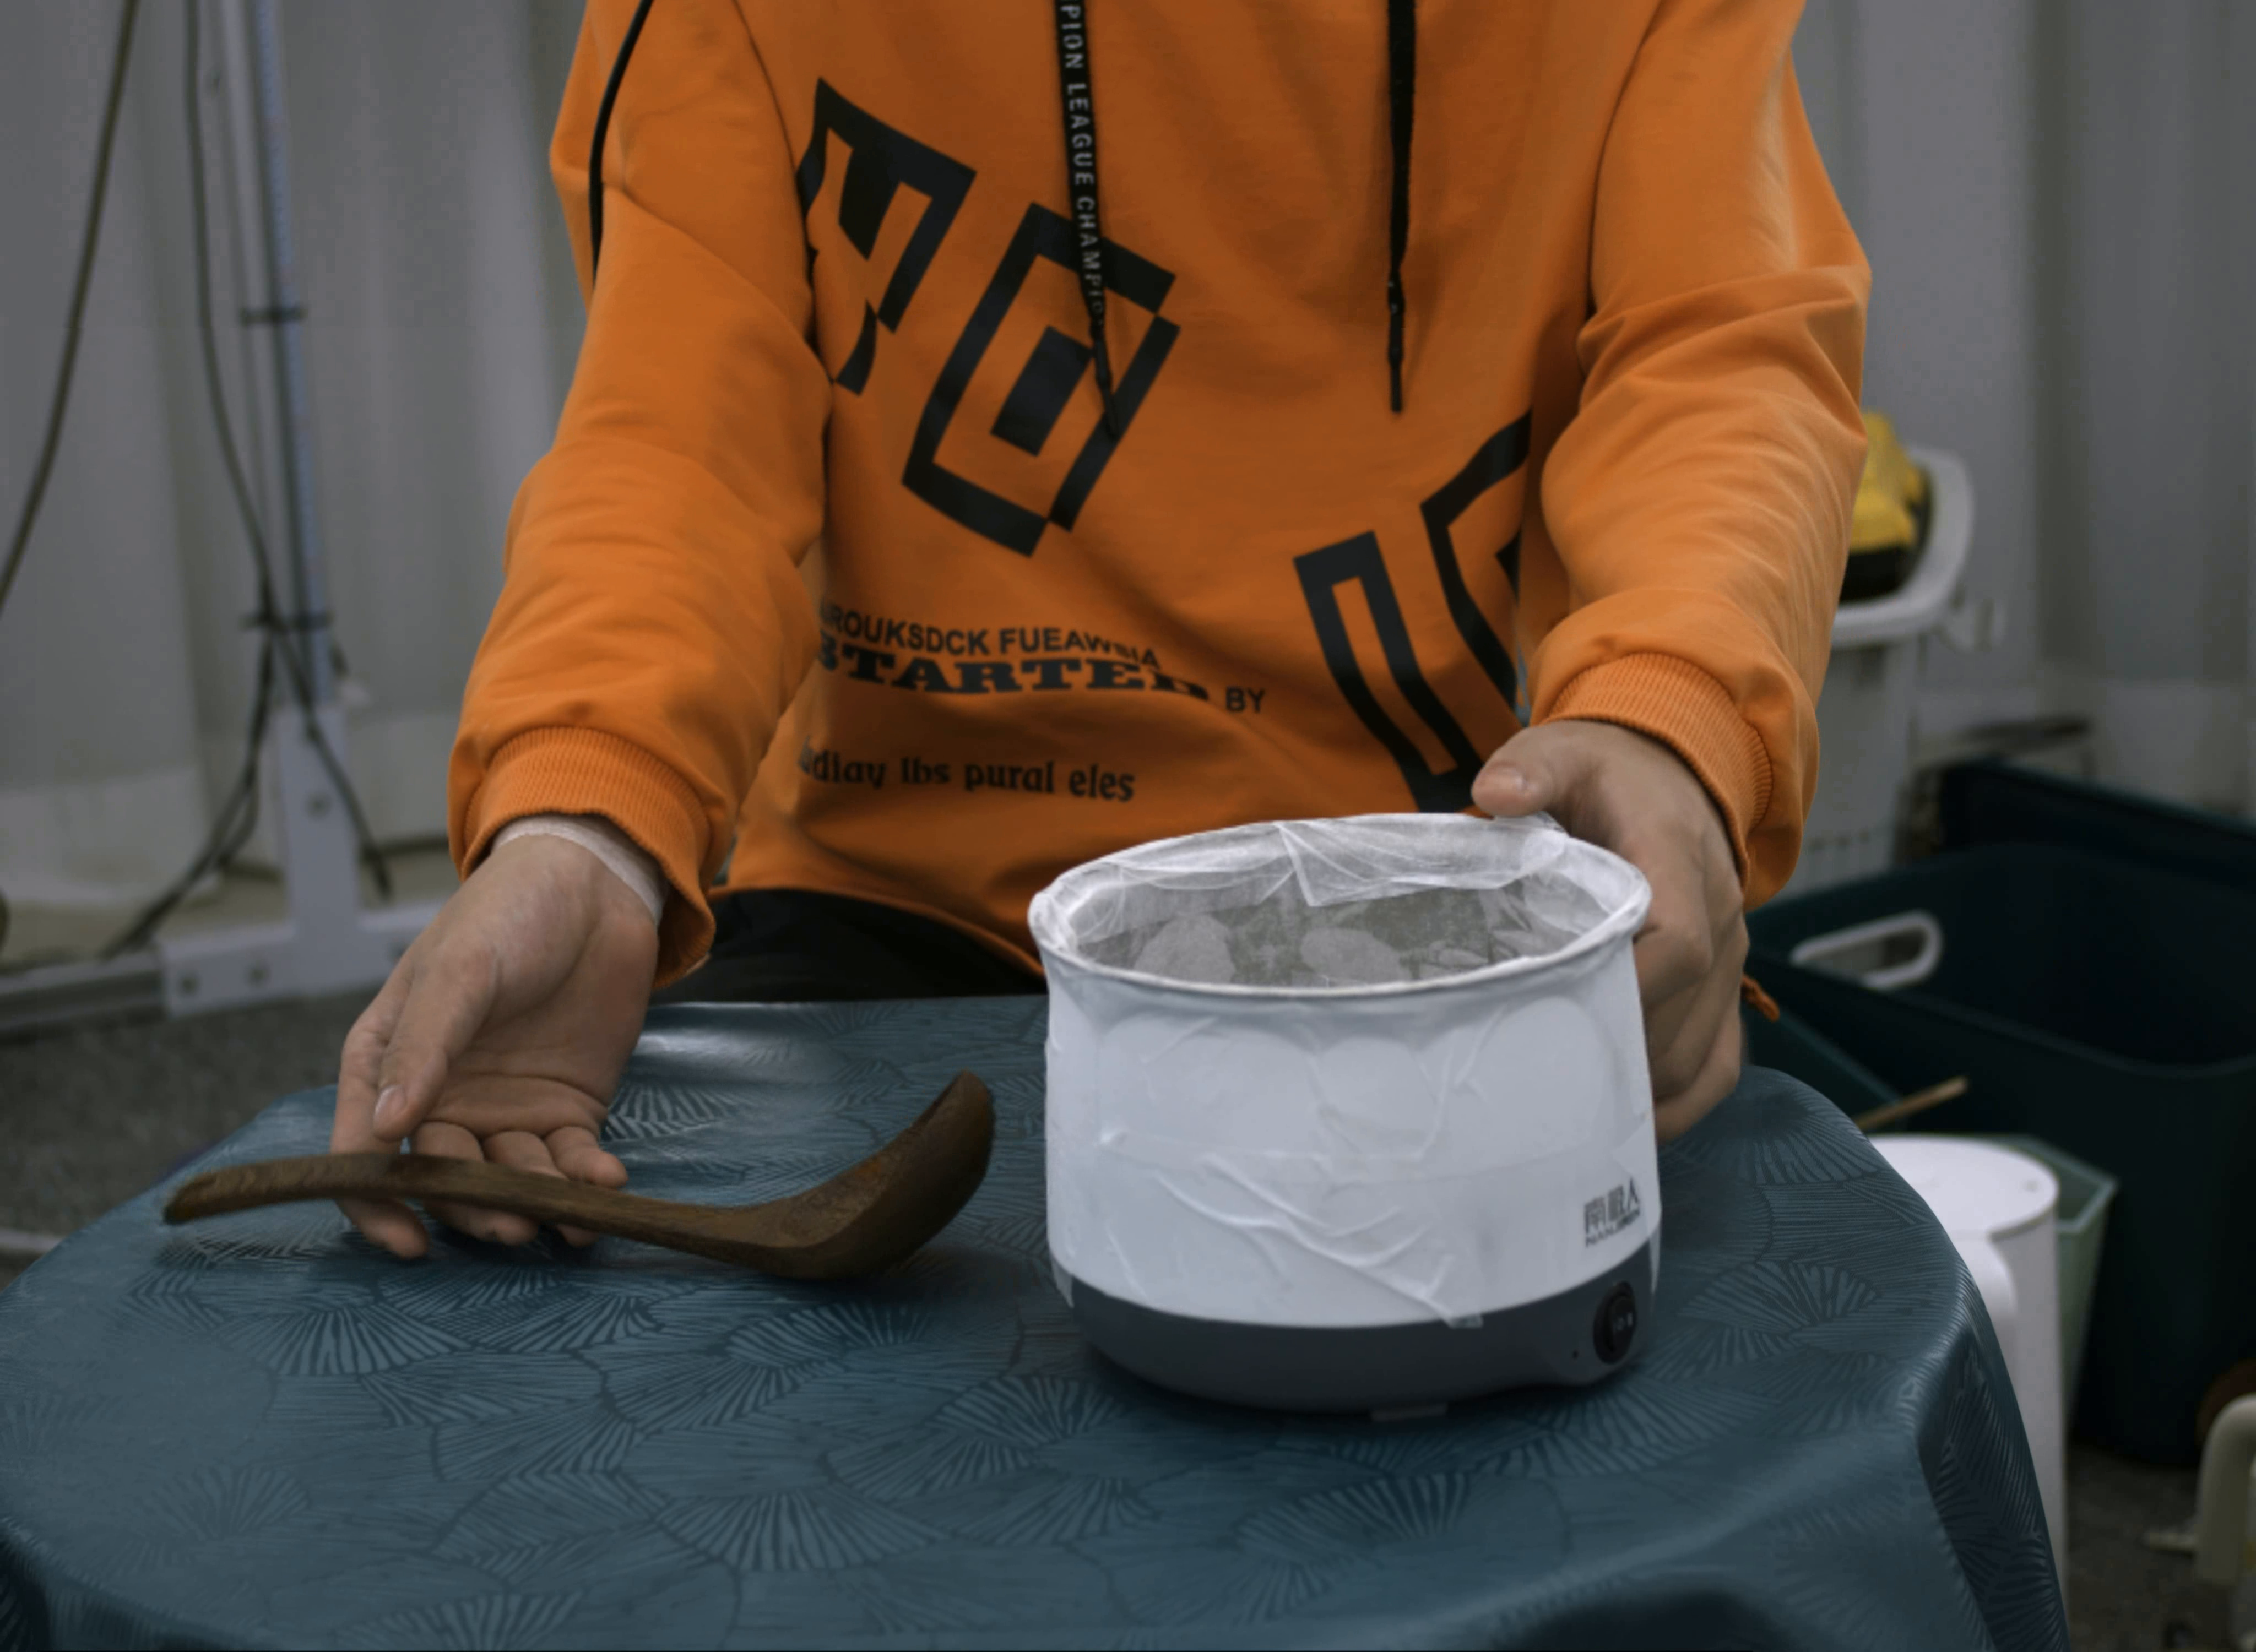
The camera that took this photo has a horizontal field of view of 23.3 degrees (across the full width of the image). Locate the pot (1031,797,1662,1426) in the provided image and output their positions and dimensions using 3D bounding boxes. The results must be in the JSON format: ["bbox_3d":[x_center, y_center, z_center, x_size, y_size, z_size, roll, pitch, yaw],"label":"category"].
[{"bbox_3d":[0.078,0.075,1.584,0.179,0.136,0.234,7,18,33],"label":"pot"}]

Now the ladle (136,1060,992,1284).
[{"bbox_3d":[-0.175,0.099,1.667,0.274,0.071,0.076,3,17,14],"label":"ladle"}]
